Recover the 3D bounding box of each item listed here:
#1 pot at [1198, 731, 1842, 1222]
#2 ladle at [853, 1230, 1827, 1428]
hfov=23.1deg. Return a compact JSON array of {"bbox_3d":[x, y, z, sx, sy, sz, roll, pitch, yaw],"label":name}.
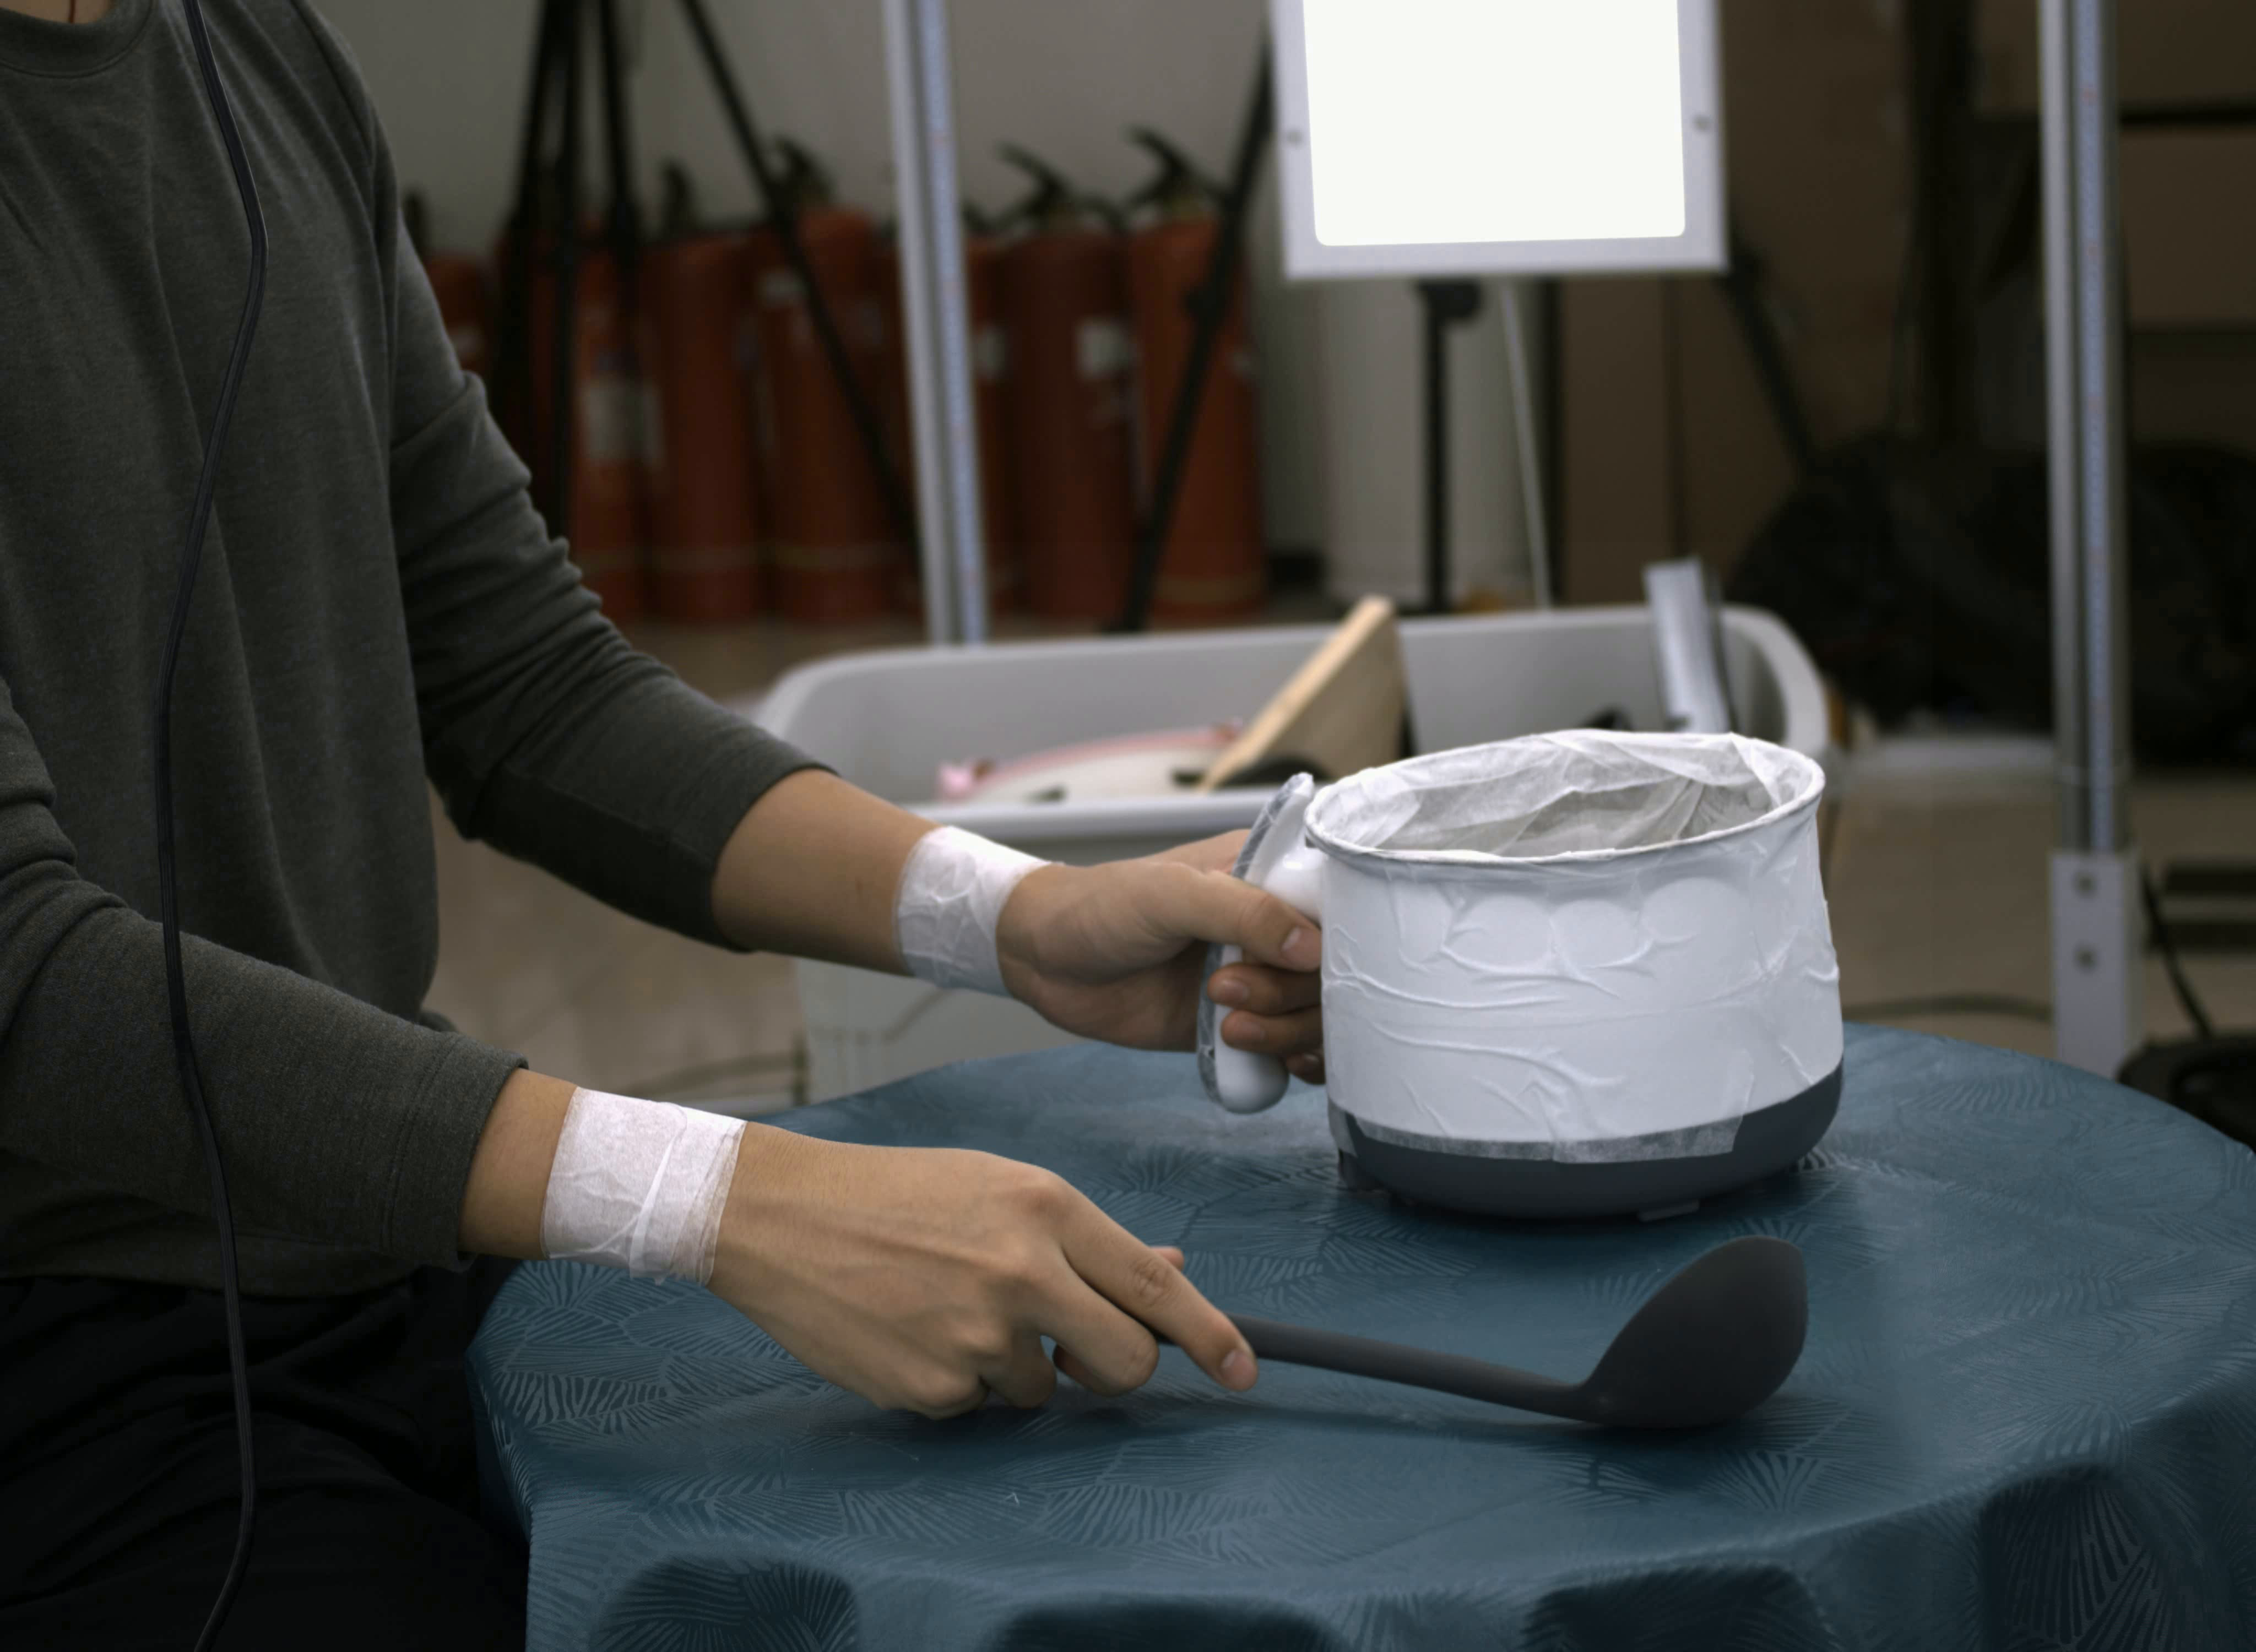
[{"bbox_3d":[0.129,0.049,1.880,0.238,0.137,0.175,2,15,29],"label":"pot"},{"bbox_3d":[0.060,0.135,1.674,0.319,0.064,0.085,7,-16,27],"label":"ladle"}]
